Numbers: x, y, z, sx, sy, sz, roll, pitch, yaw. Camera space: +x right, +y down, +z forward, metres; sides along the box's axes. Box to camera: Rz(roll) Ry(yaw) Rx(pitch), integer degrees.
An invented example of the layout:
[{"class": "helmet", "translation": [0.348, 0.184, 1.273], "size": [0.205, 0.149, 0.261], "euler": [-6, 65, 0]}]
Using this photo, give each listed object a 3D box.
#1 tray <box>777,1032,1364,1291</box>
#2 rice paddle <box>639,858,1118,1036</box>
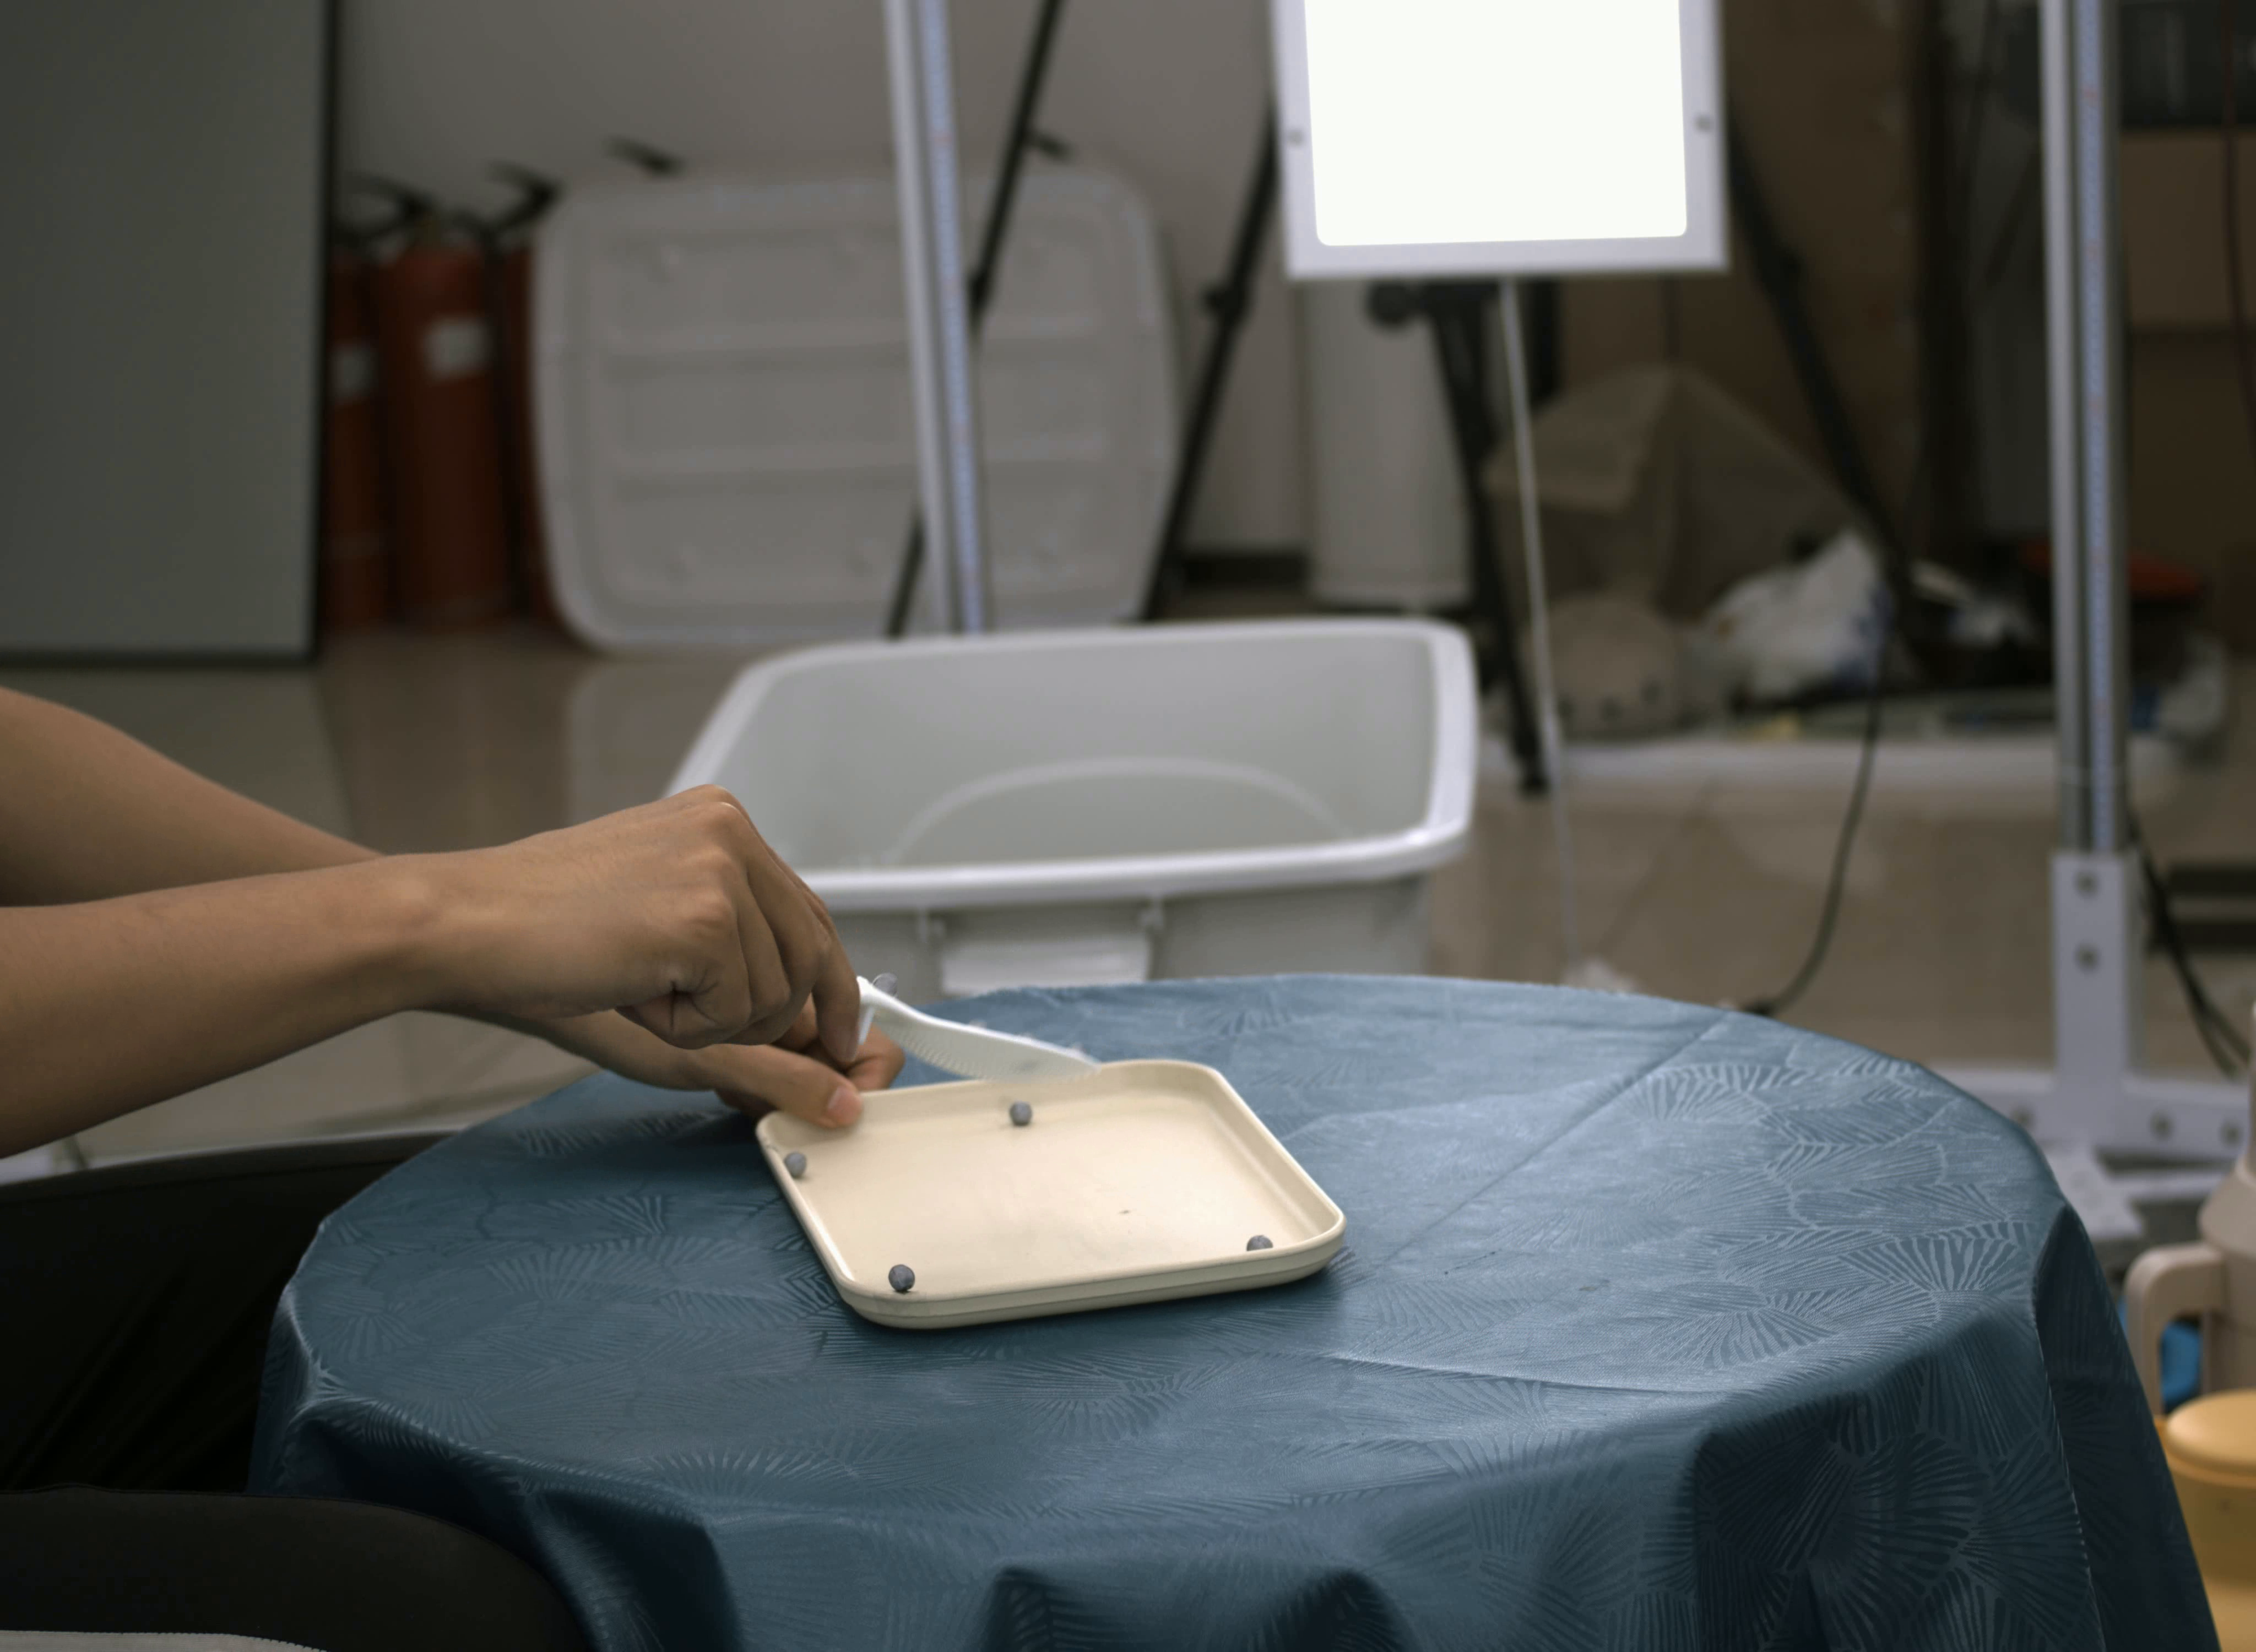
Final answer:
[{"class": "tray", "translation": [-0.023, 0.114, 1.892], "size": [0.169, 0.017, 0.241], "euler": [-7, 13, -10]}, {"class": "rice paddle", "translation": [-0.075, 0.042, 1.745], "size": [0.070, 0.029, 0.200], "euler": [13, -2, 40]}]
